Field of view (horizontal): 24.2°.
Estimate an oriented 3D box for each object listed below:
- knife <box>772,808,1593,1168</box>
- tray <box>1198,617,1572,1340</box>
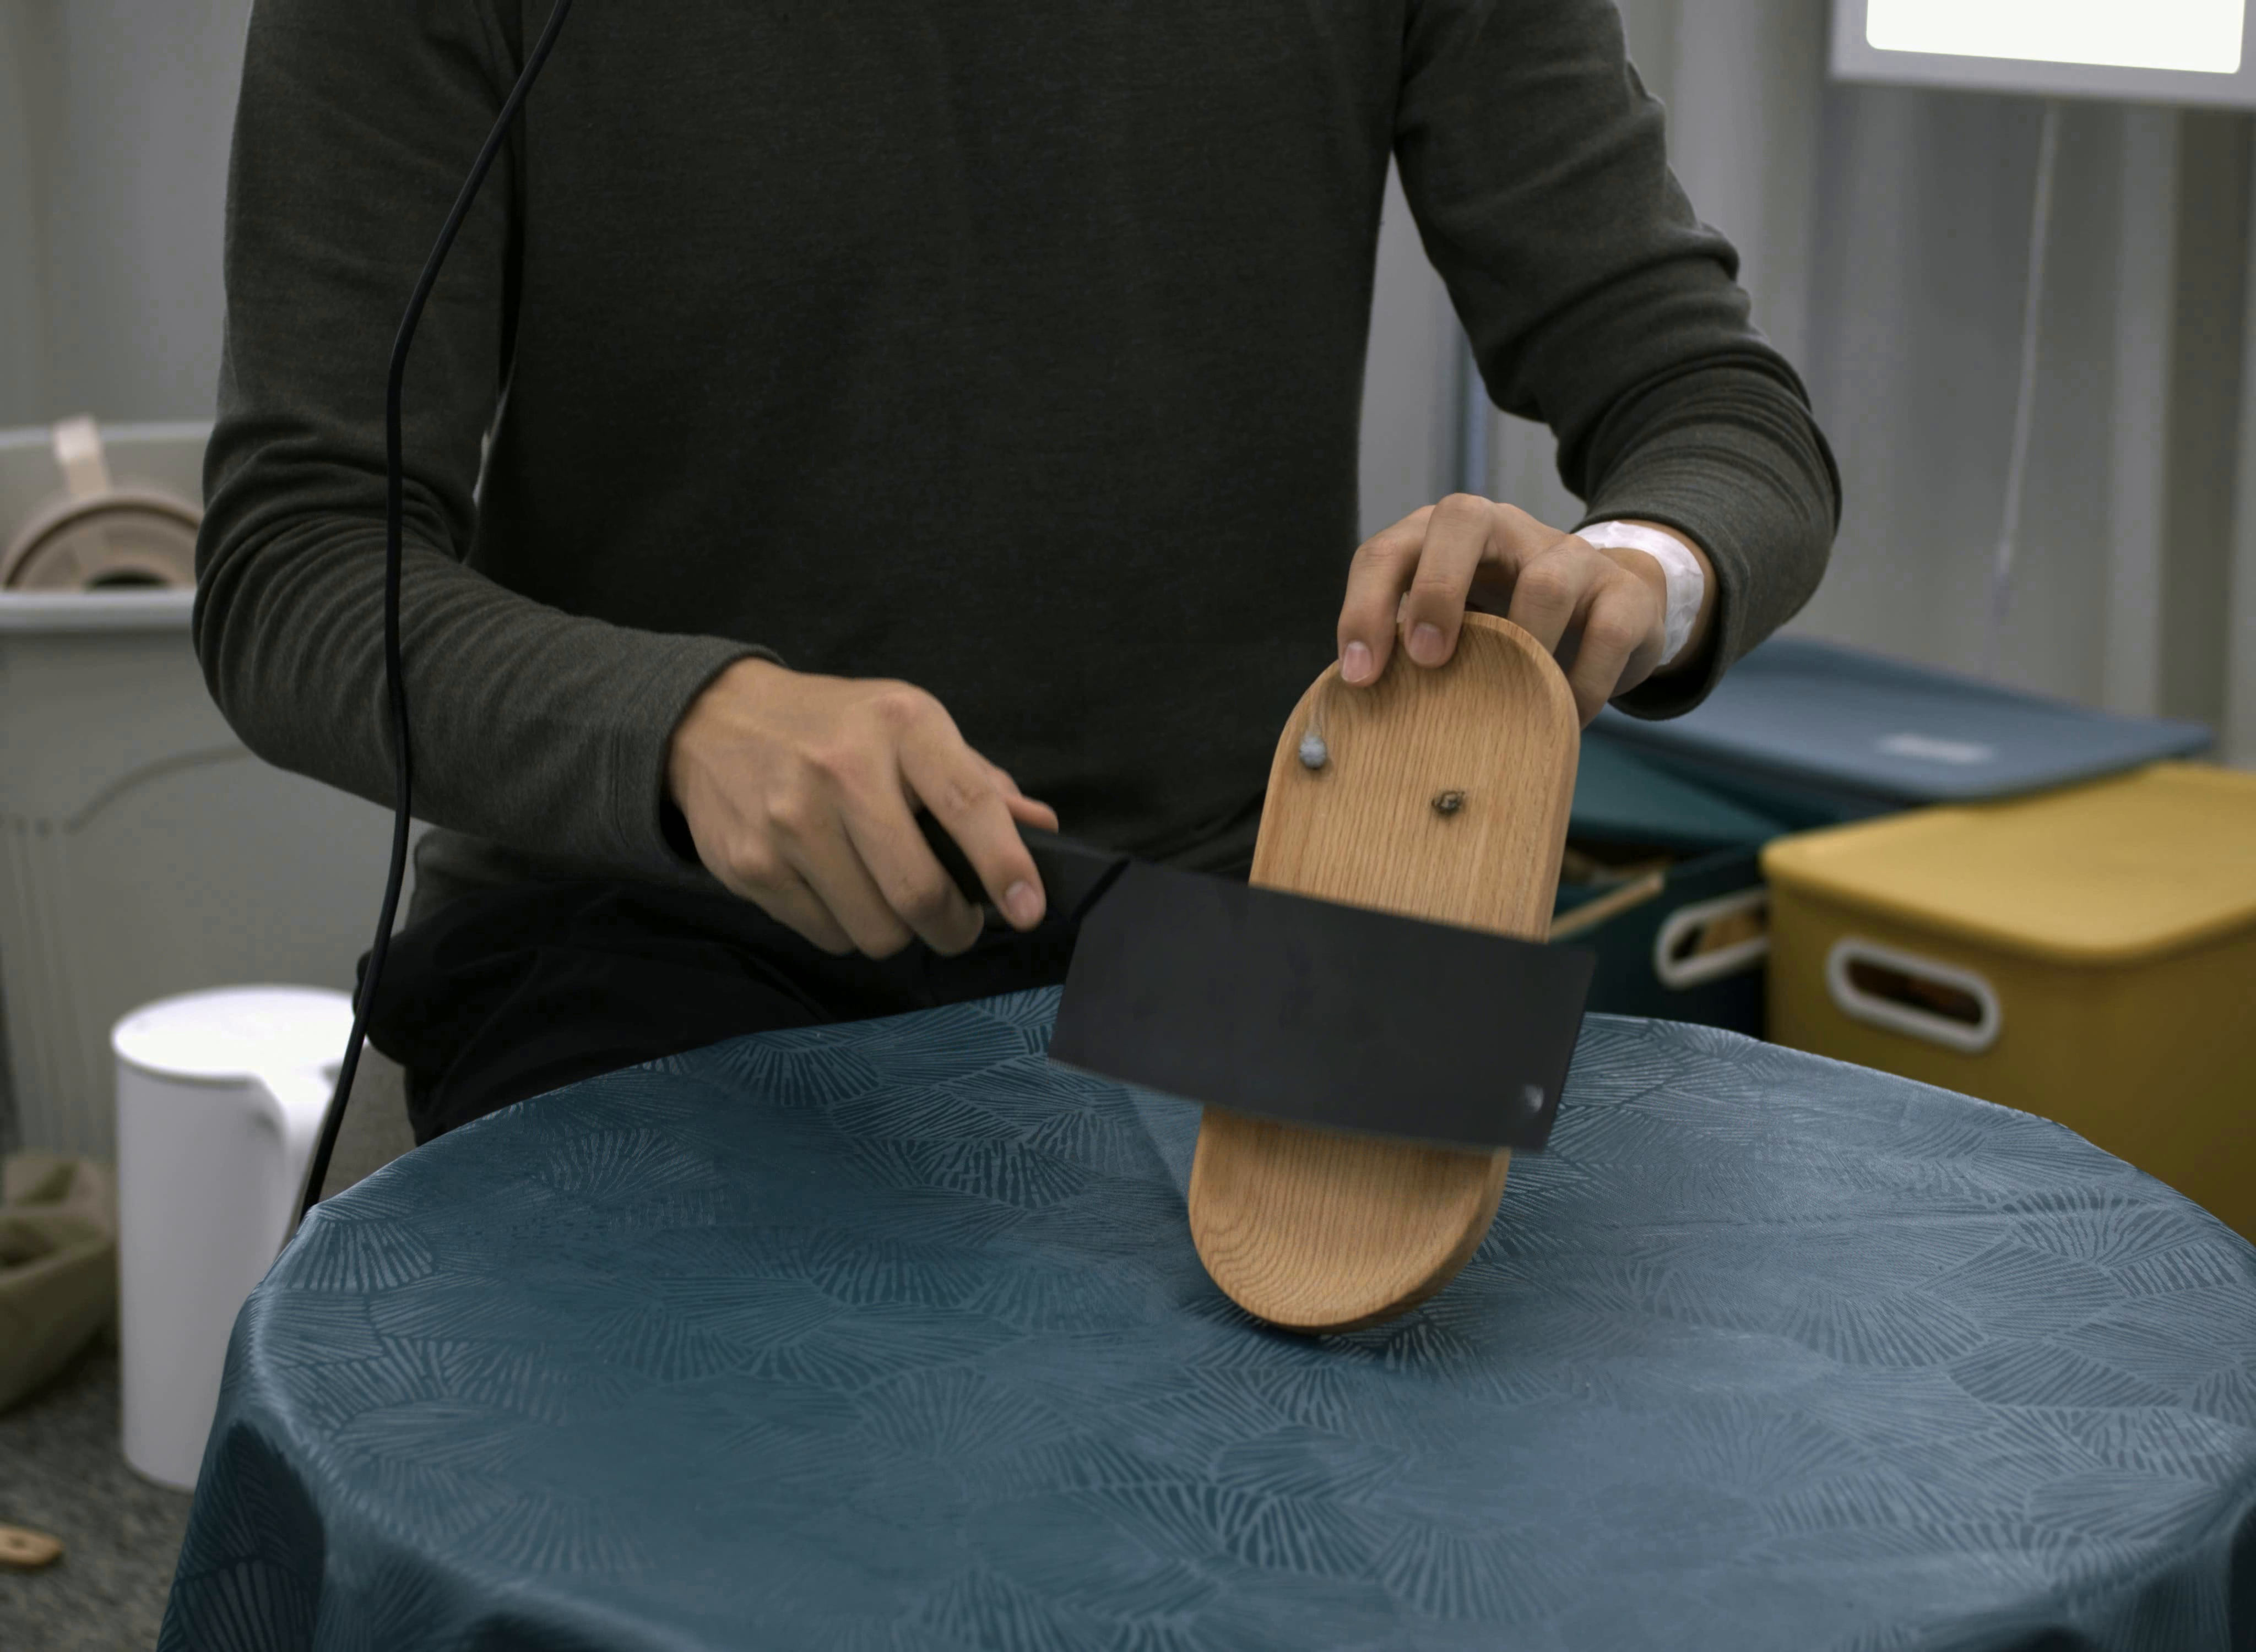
[{"bbox_3d":[0.008,0.043,1.553,0.298,0.081,0.021,17,-5,38],"label":"knife"},{"bbox_3d":[0.077,0.043,1.539,0.101,0.230,0.020,-7,-29,31],"label":"tray"}]
